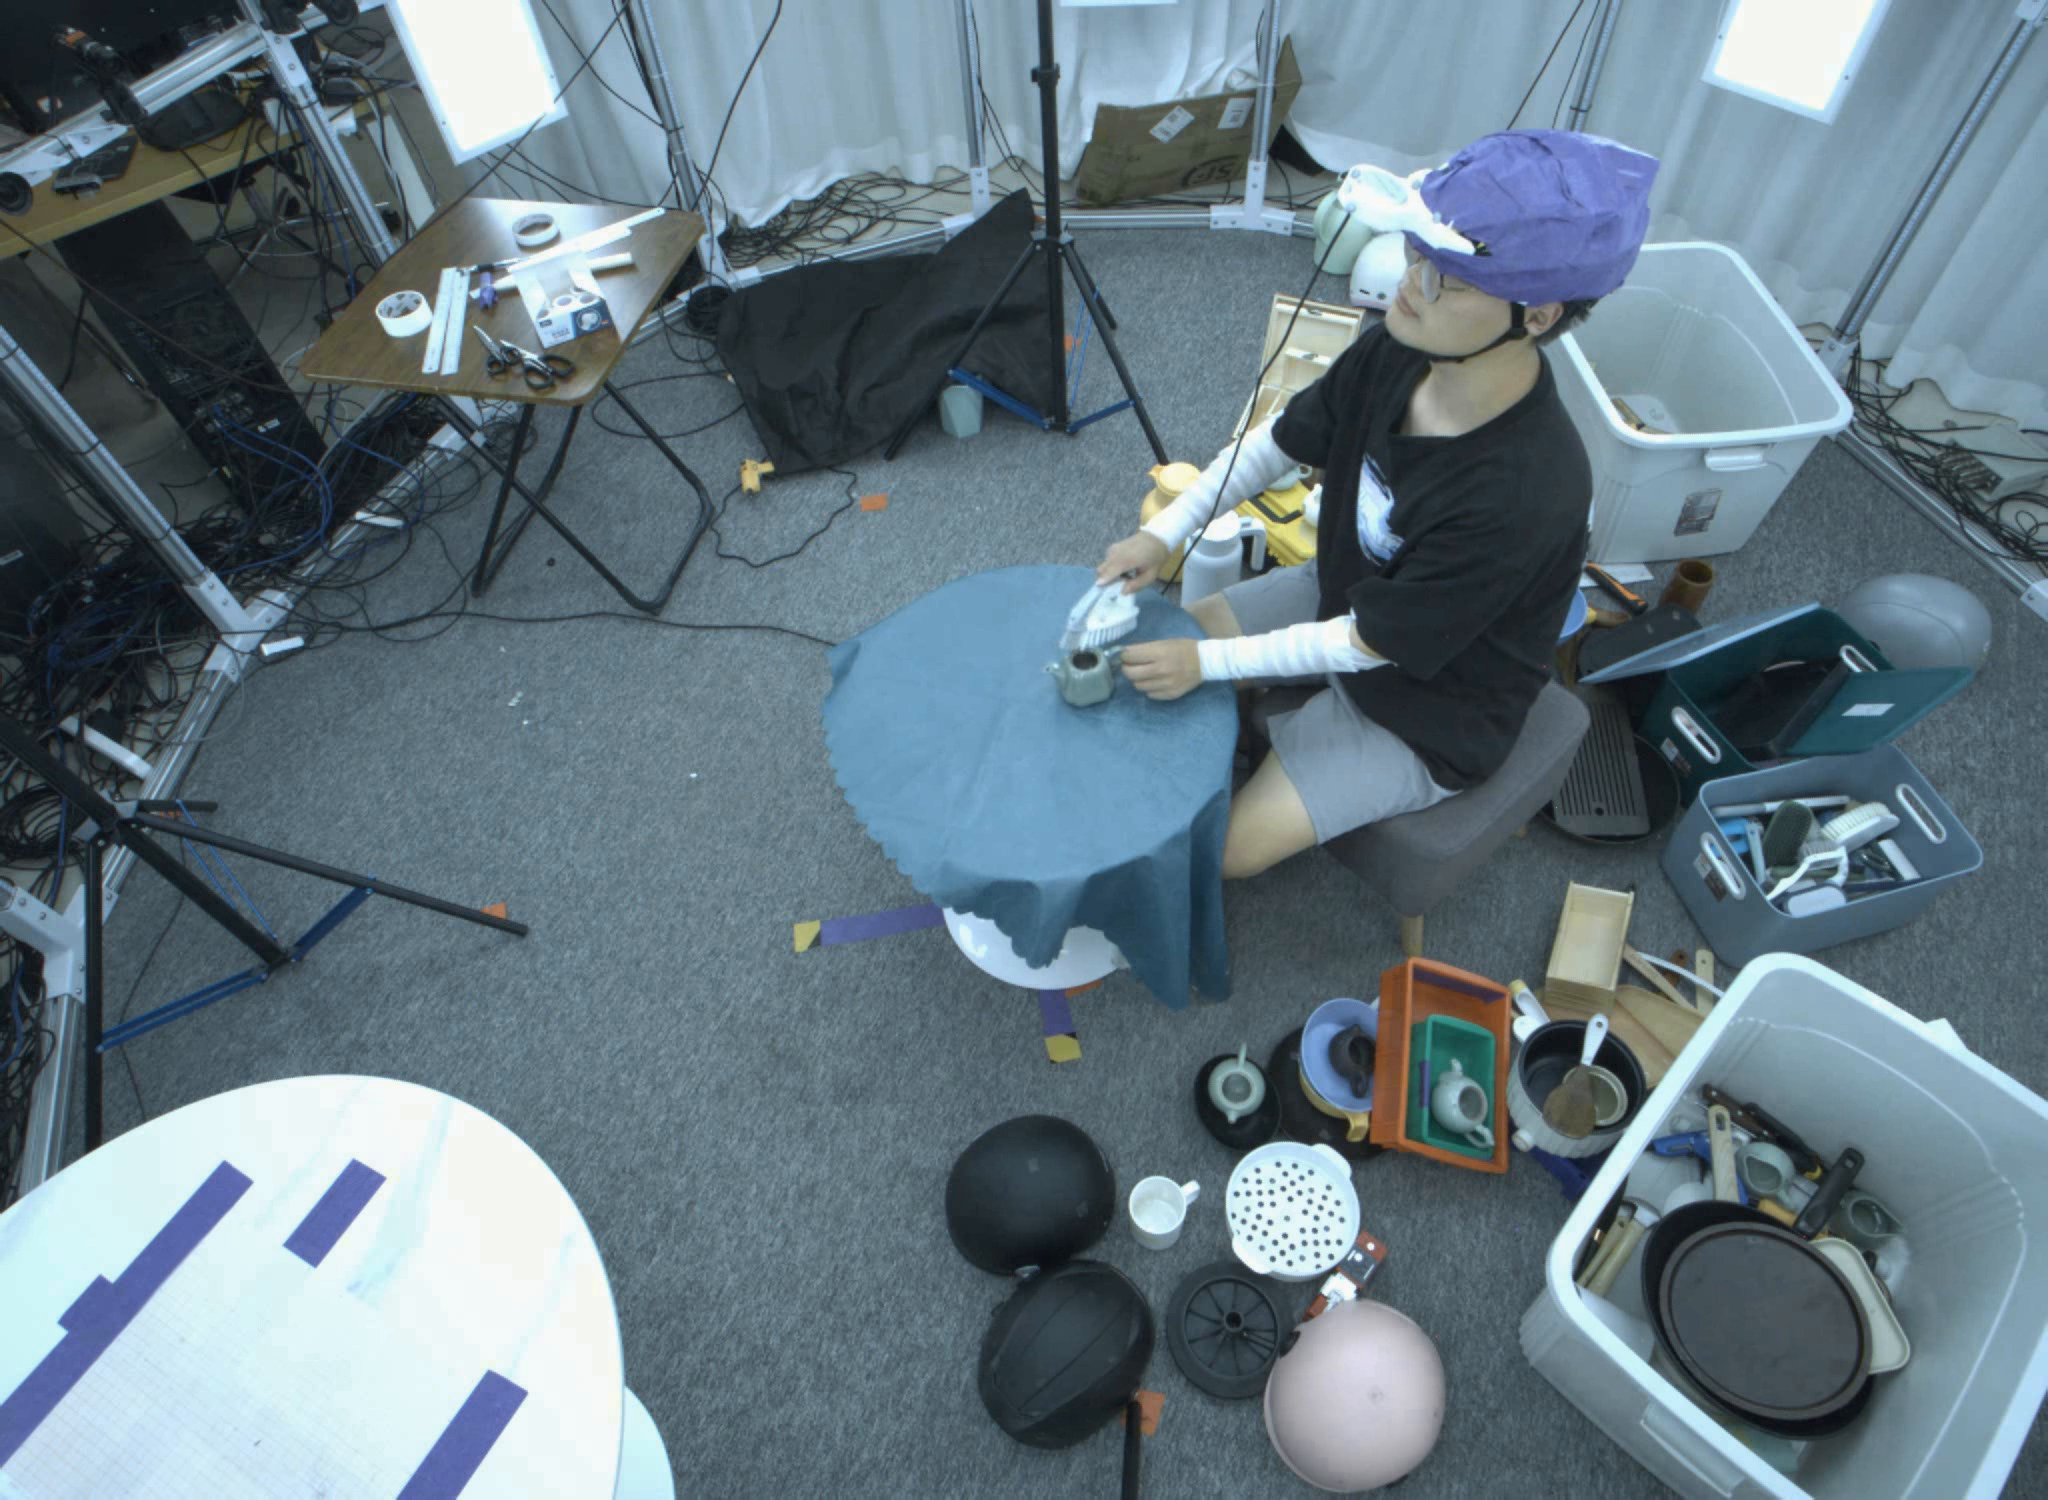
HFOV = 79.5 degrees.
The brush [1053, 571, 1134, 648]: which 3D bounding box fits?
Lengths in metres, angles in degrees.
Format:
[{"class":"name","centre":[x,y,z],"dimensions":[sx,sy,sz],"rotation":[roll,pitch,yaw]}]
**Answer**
[{"class":"brush","centre":[0.099,-0.210,1.810],"dimensions":[0.060,0.095,0.178],"rotation":[24,33,29]}]

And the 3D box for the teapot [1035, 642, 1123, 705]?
[{"class":"teapot","centre":[0.081,-0.116,1.814],"dimensions":[0.133,0.076,0.078],"rotation":[-13,57,-9]}]
